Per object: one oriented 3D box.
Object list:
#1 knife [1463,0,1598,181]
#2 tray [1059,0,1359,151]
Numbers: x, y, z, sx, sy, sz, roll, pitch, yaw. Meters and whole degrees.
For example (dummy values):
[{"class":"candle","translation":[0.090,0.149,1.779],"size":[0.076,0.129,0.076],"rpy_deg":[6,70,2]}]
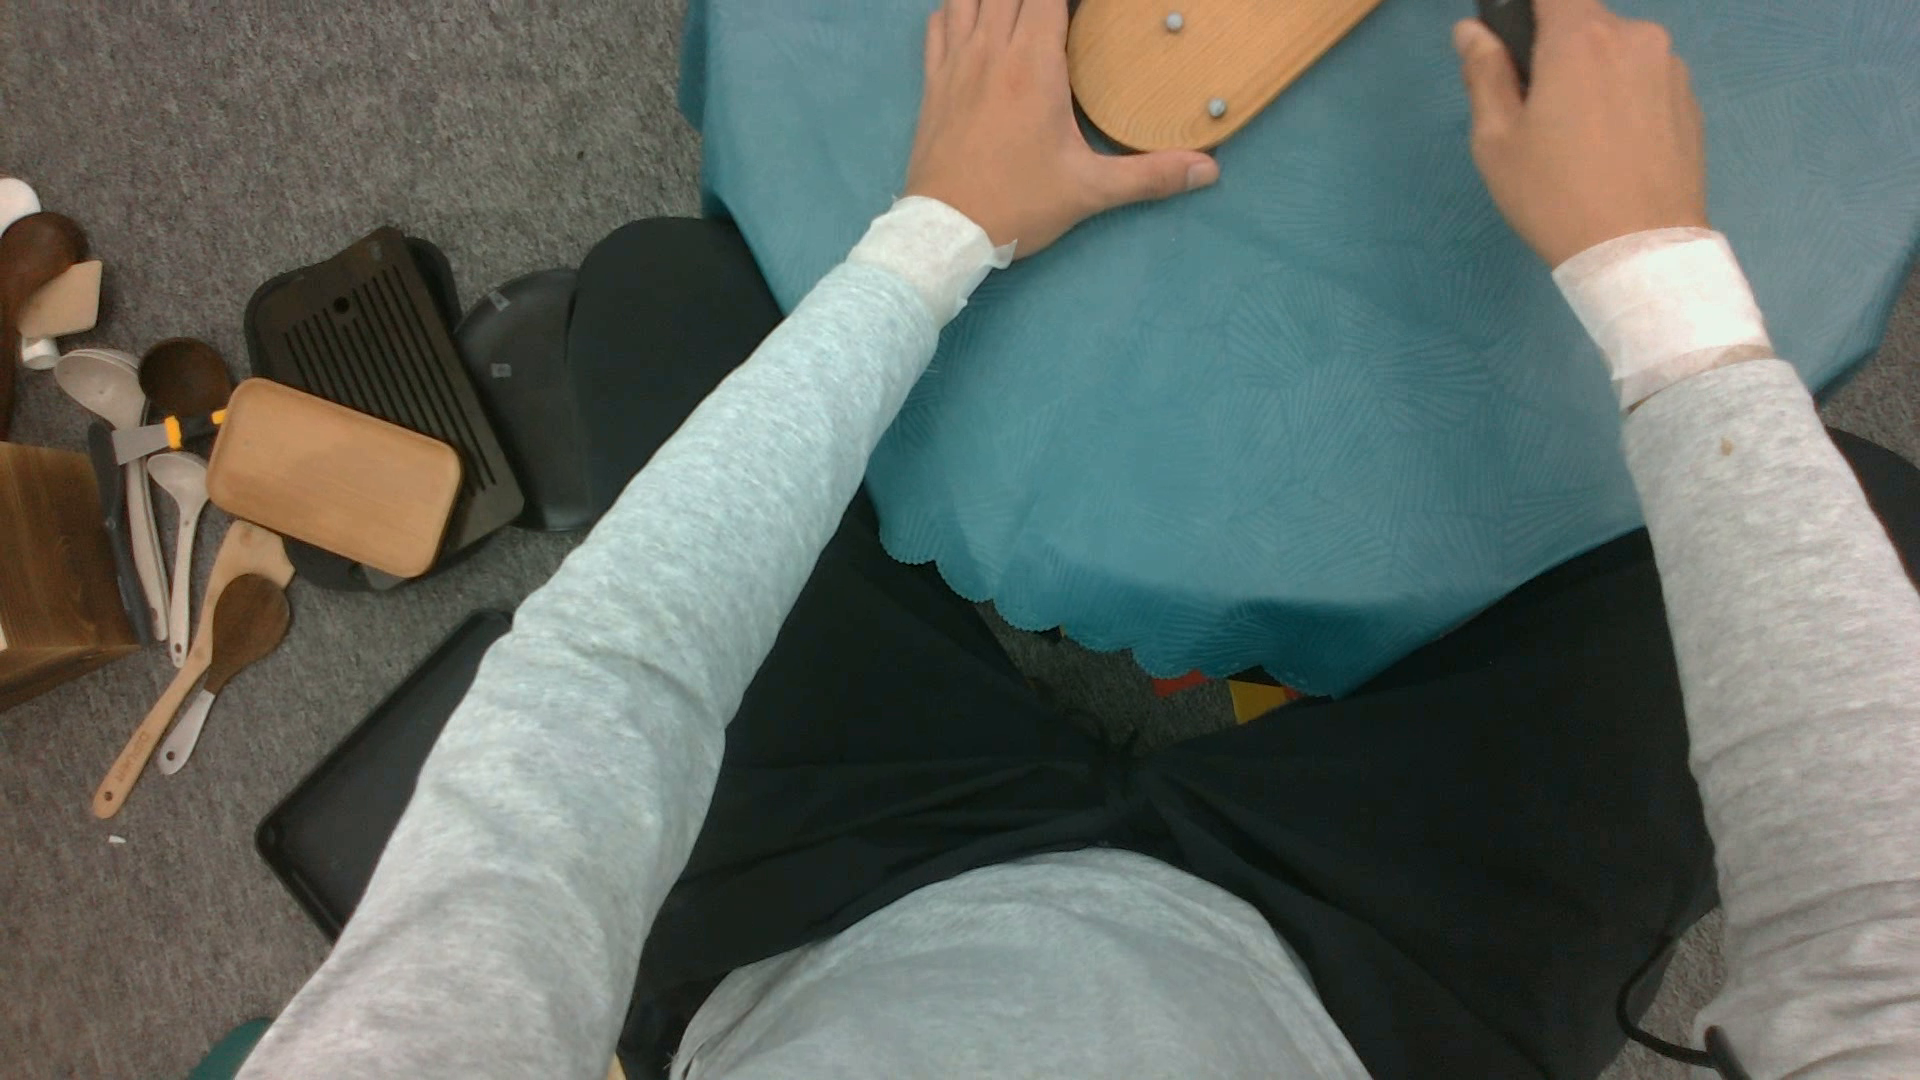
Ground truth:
[{"class":"knife","translation":[0.211,-0.259,0.584],"size":[0.024,0.016,0.238],"rpy_deg":[-27,80,23]},{"class":"tray","translation":[0.145,-0.283,0.663],"size":[0.231,0.020,0.102],"rpy_deg":[-44,84,2]}]
